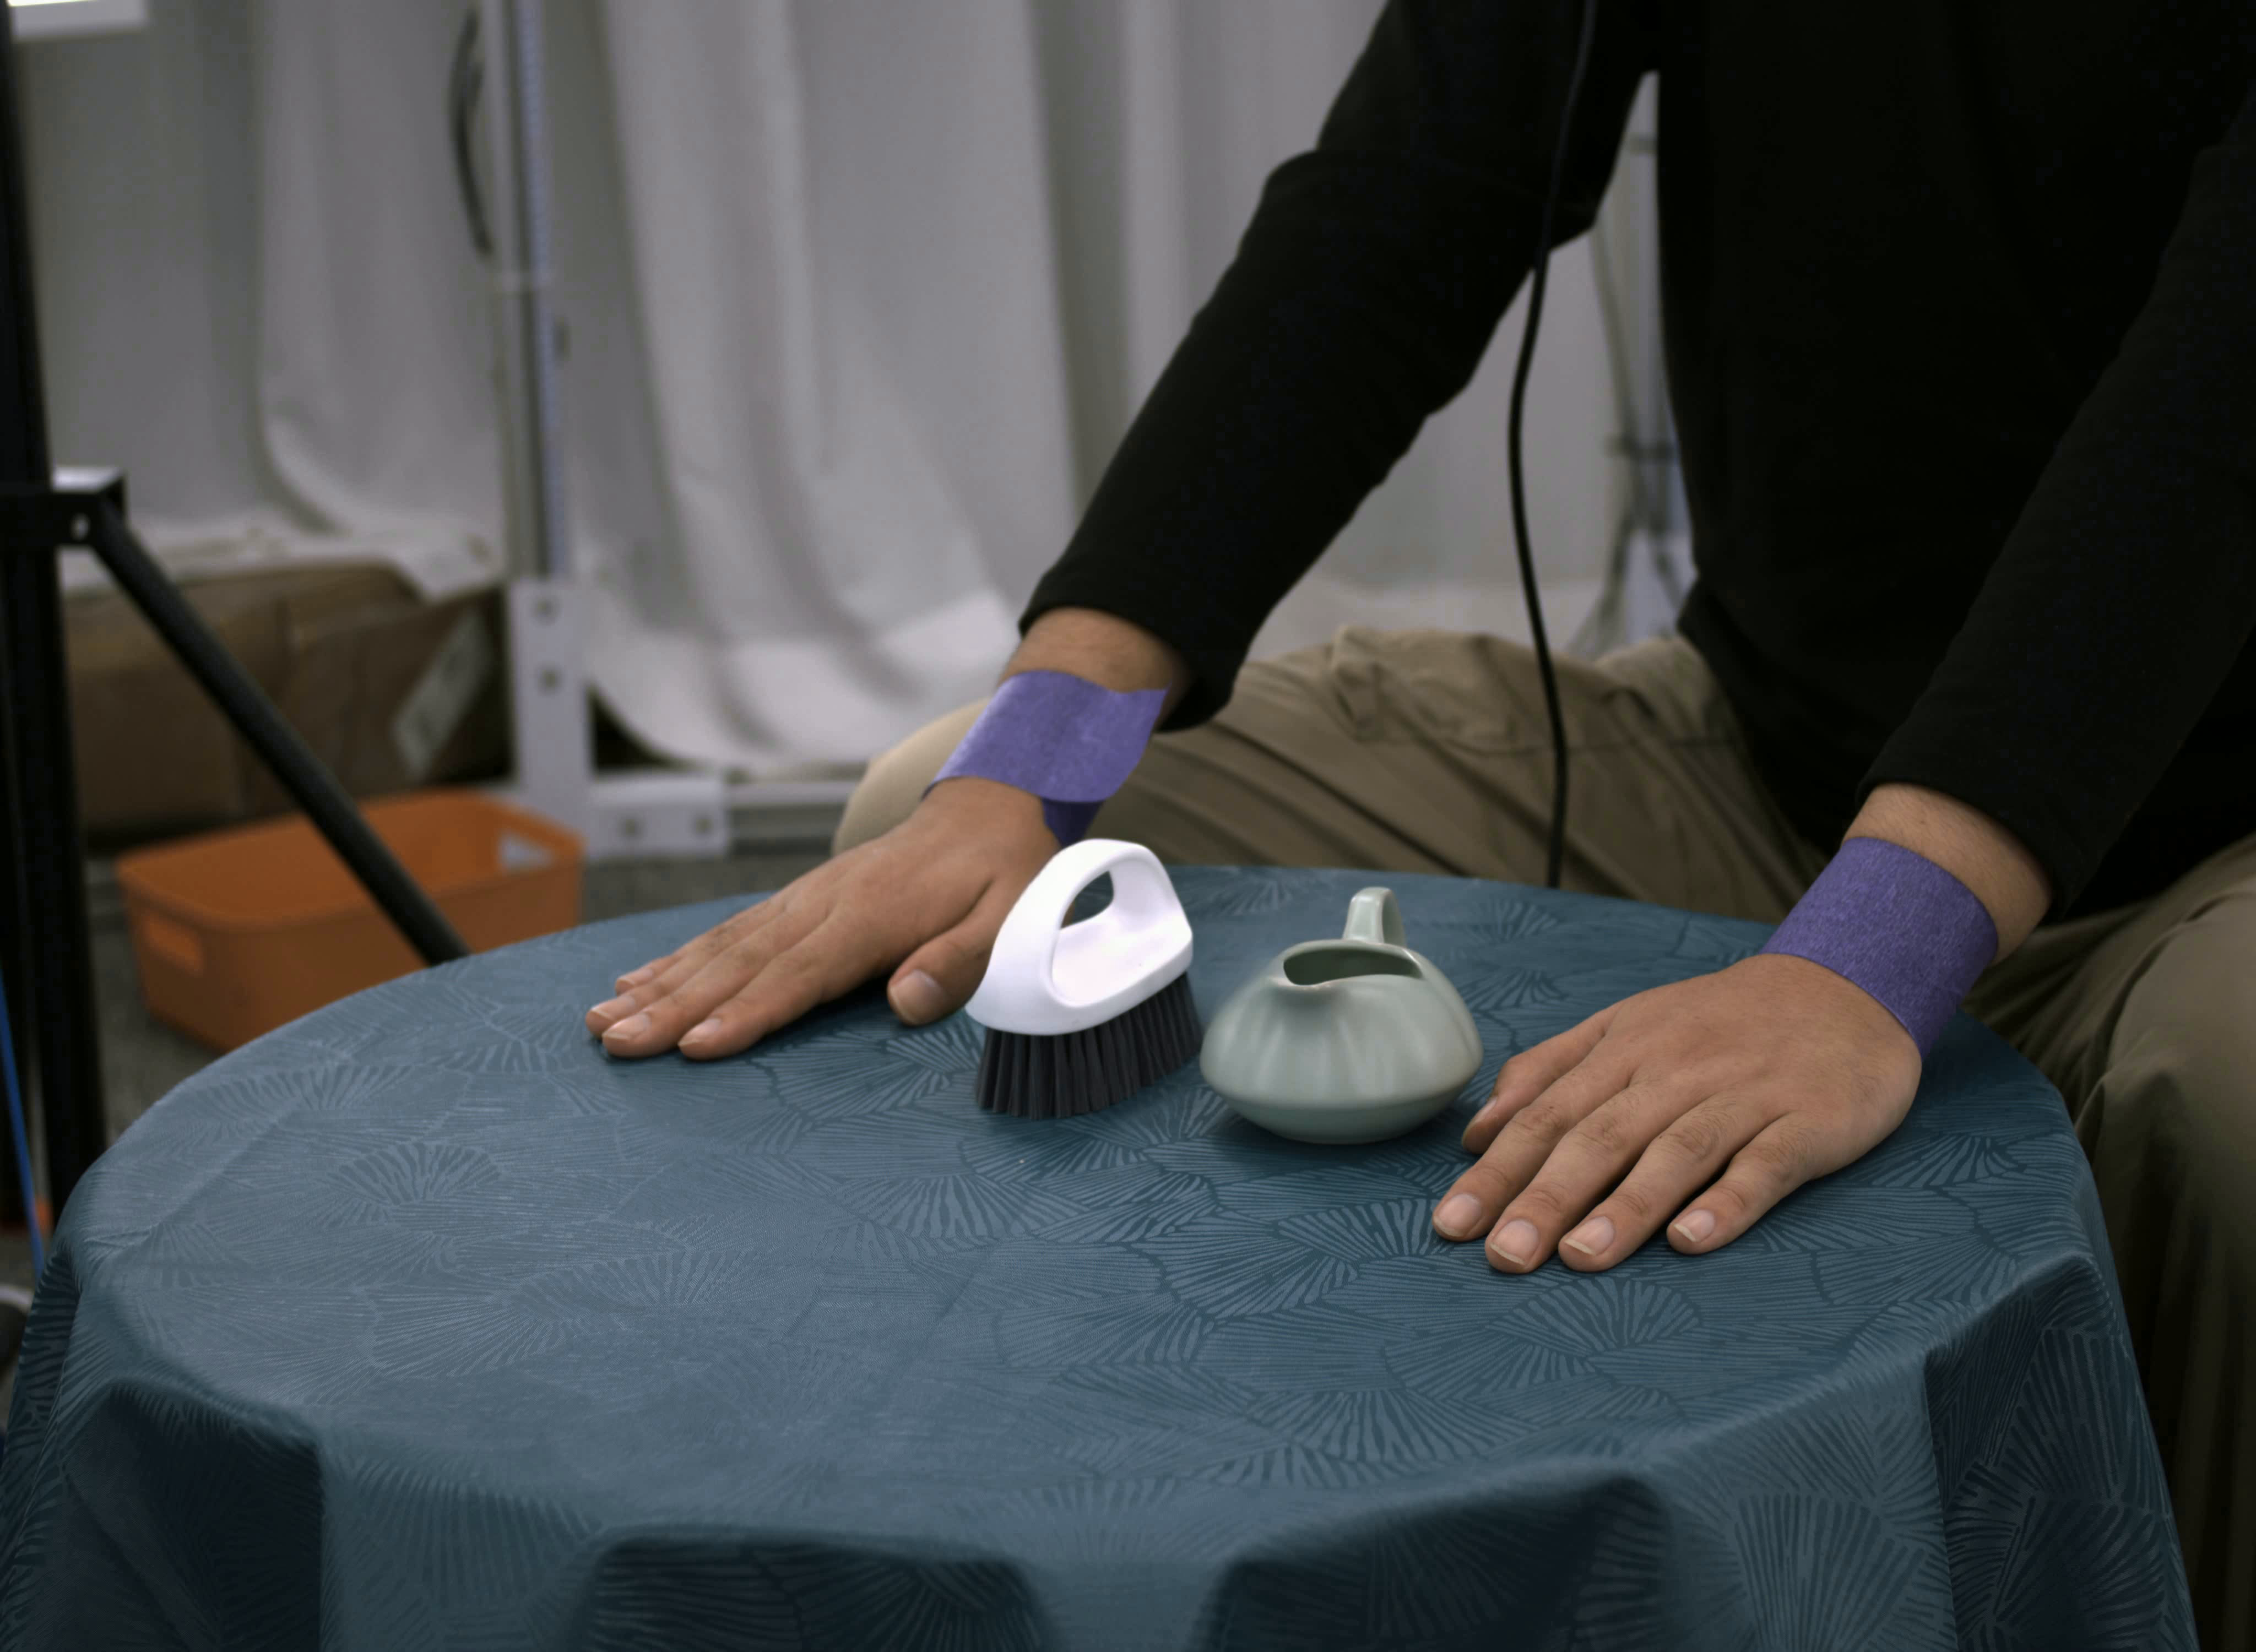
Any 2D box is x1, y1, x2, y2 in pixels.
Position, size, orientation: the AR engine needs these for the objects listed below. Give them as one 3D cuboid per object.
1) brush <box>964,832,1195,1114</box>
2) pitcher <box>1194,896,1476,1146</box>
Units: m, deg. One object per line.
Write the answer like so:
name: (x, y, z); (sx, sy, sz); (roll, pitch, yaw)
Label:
brush: (-0.015, 0.040, 1.663); (0.051, 0.072, 0.097); (8, 20, 29)
pitcher: (0.066, 0.060, 1.617); (0.086, 0.060, 0.107); (2, 13, 15)
